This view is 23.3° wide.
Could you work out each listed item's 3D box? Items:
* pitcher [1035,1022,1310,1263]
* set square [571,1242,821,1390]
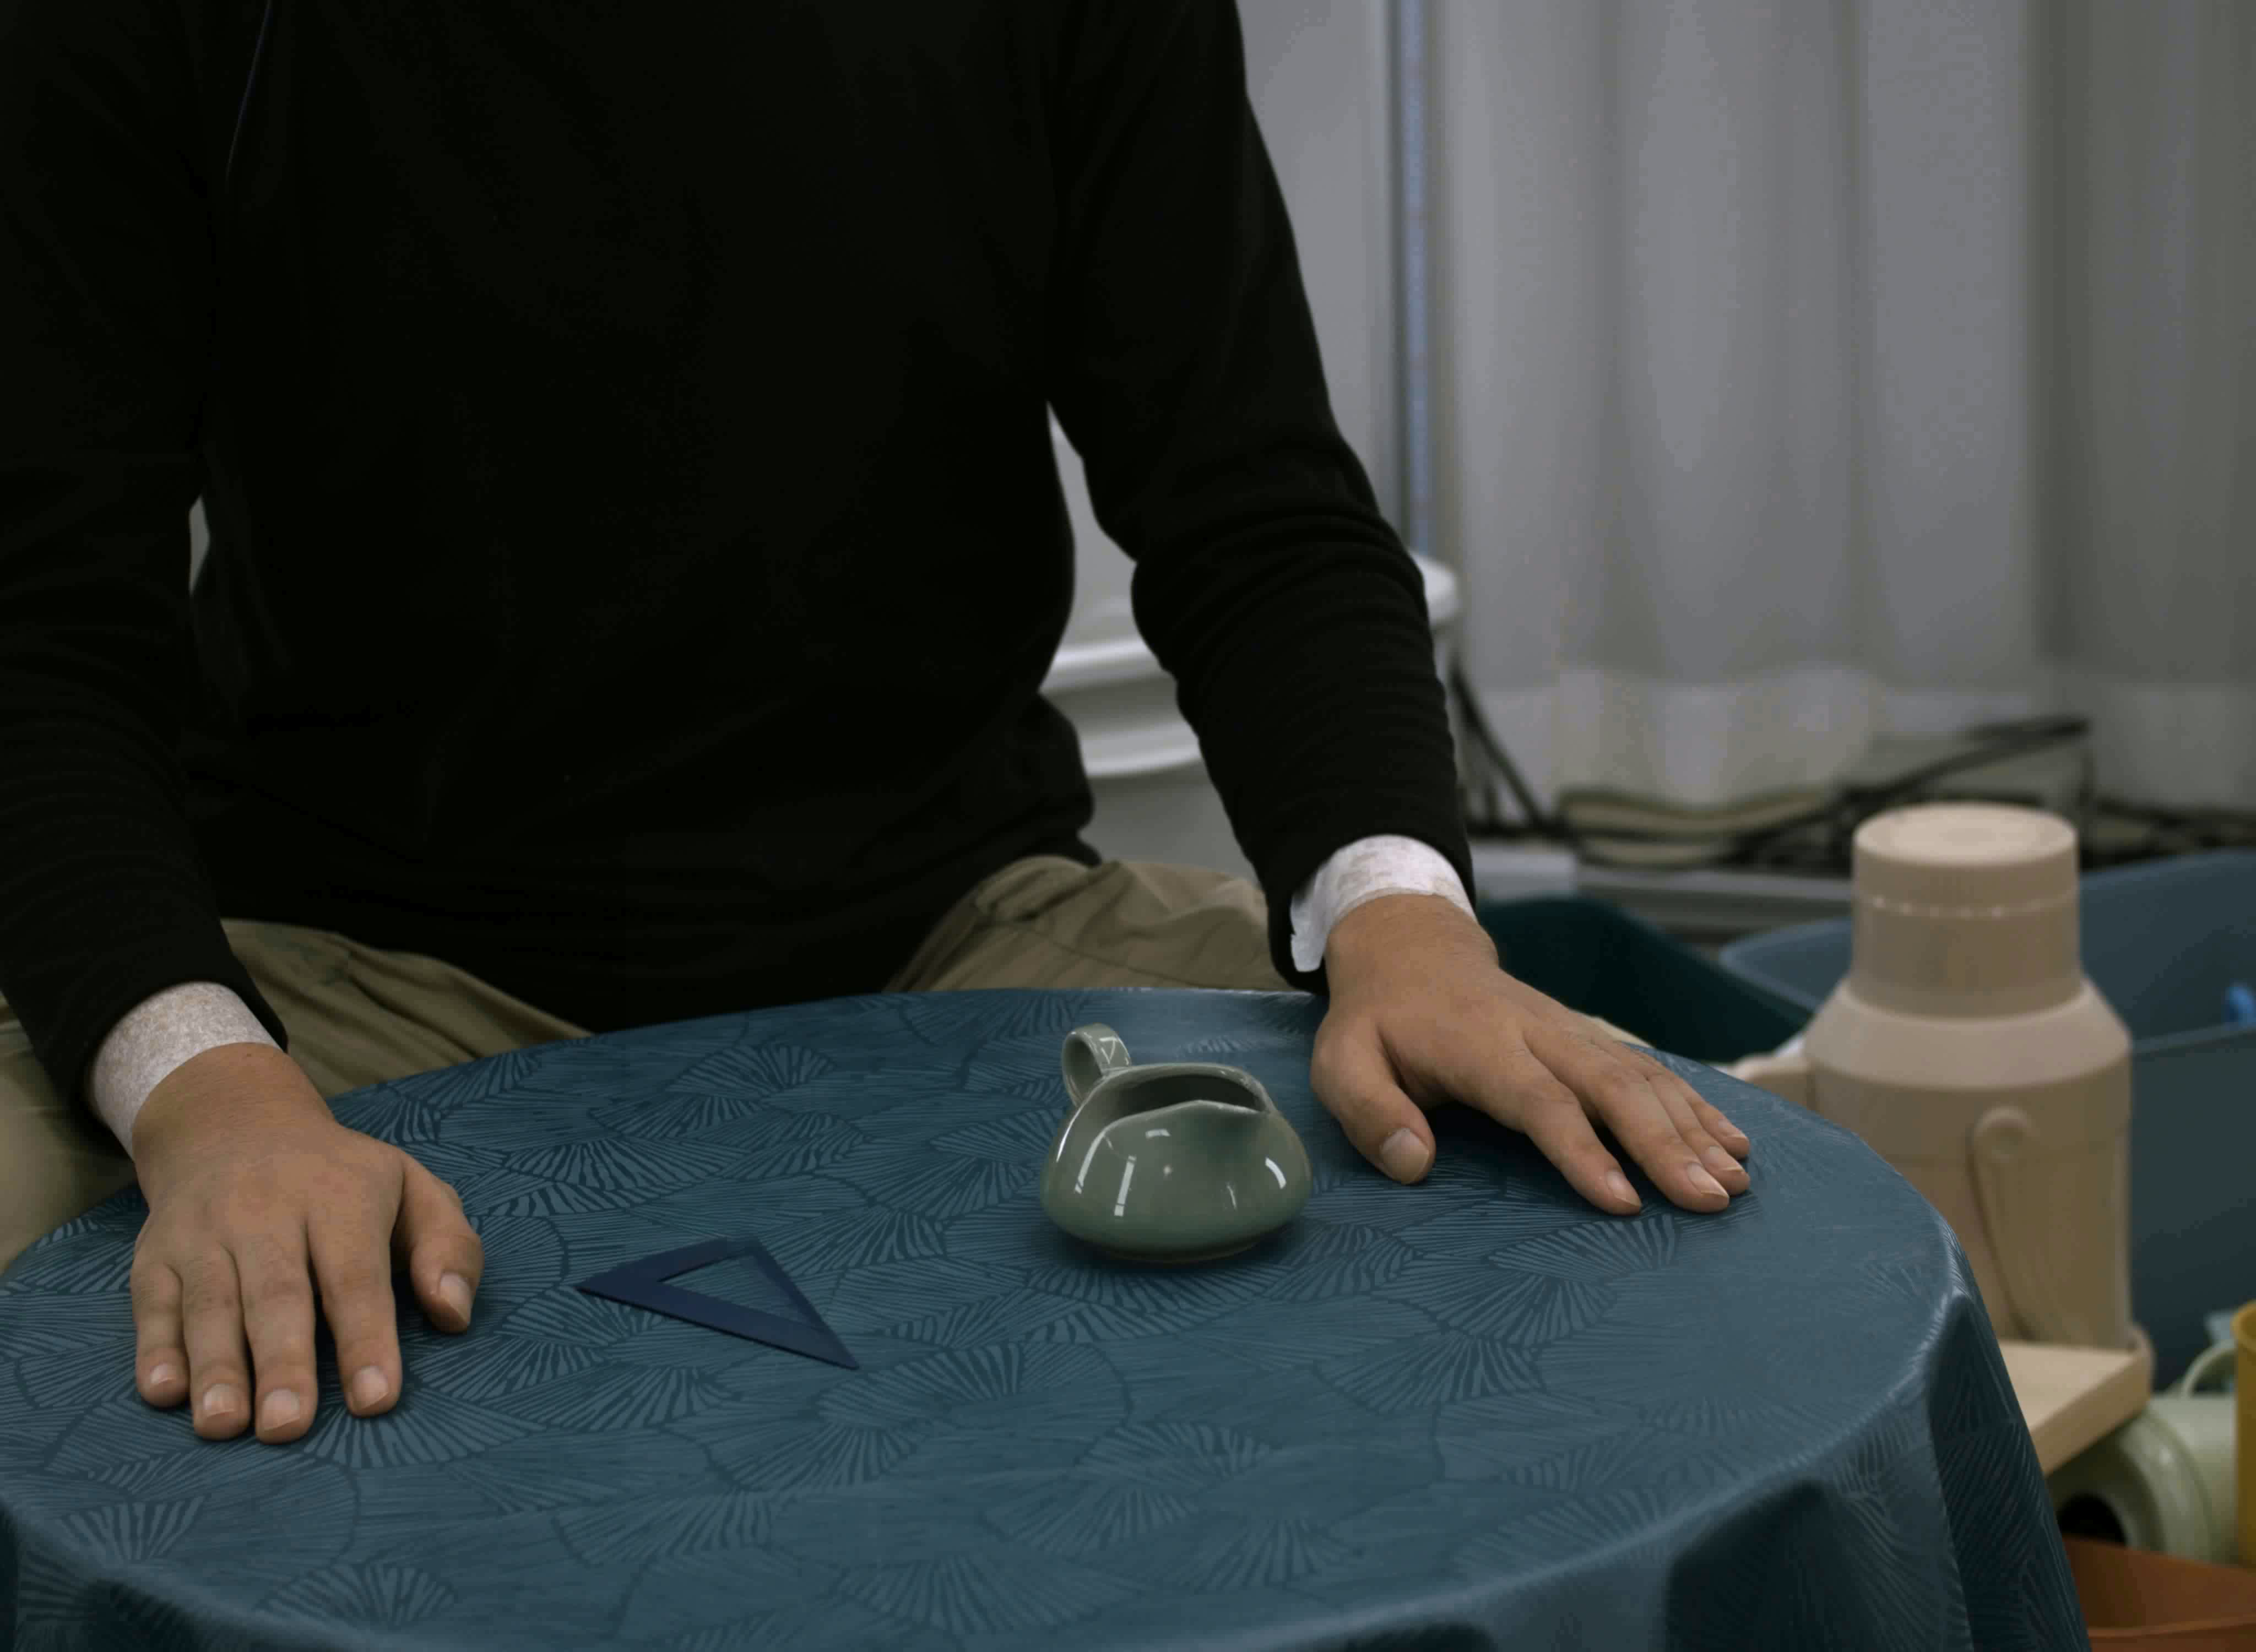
[{"bbox_3d":[0.010,0.097,1.670,0.084,0.056,0.113,-8,15,-29],"label":"pitcher"},{"bbox_3d":[-0.129,0.146,1.615,0.061,0.006,0.133,-5,15,-13],"label":"set square"}]
